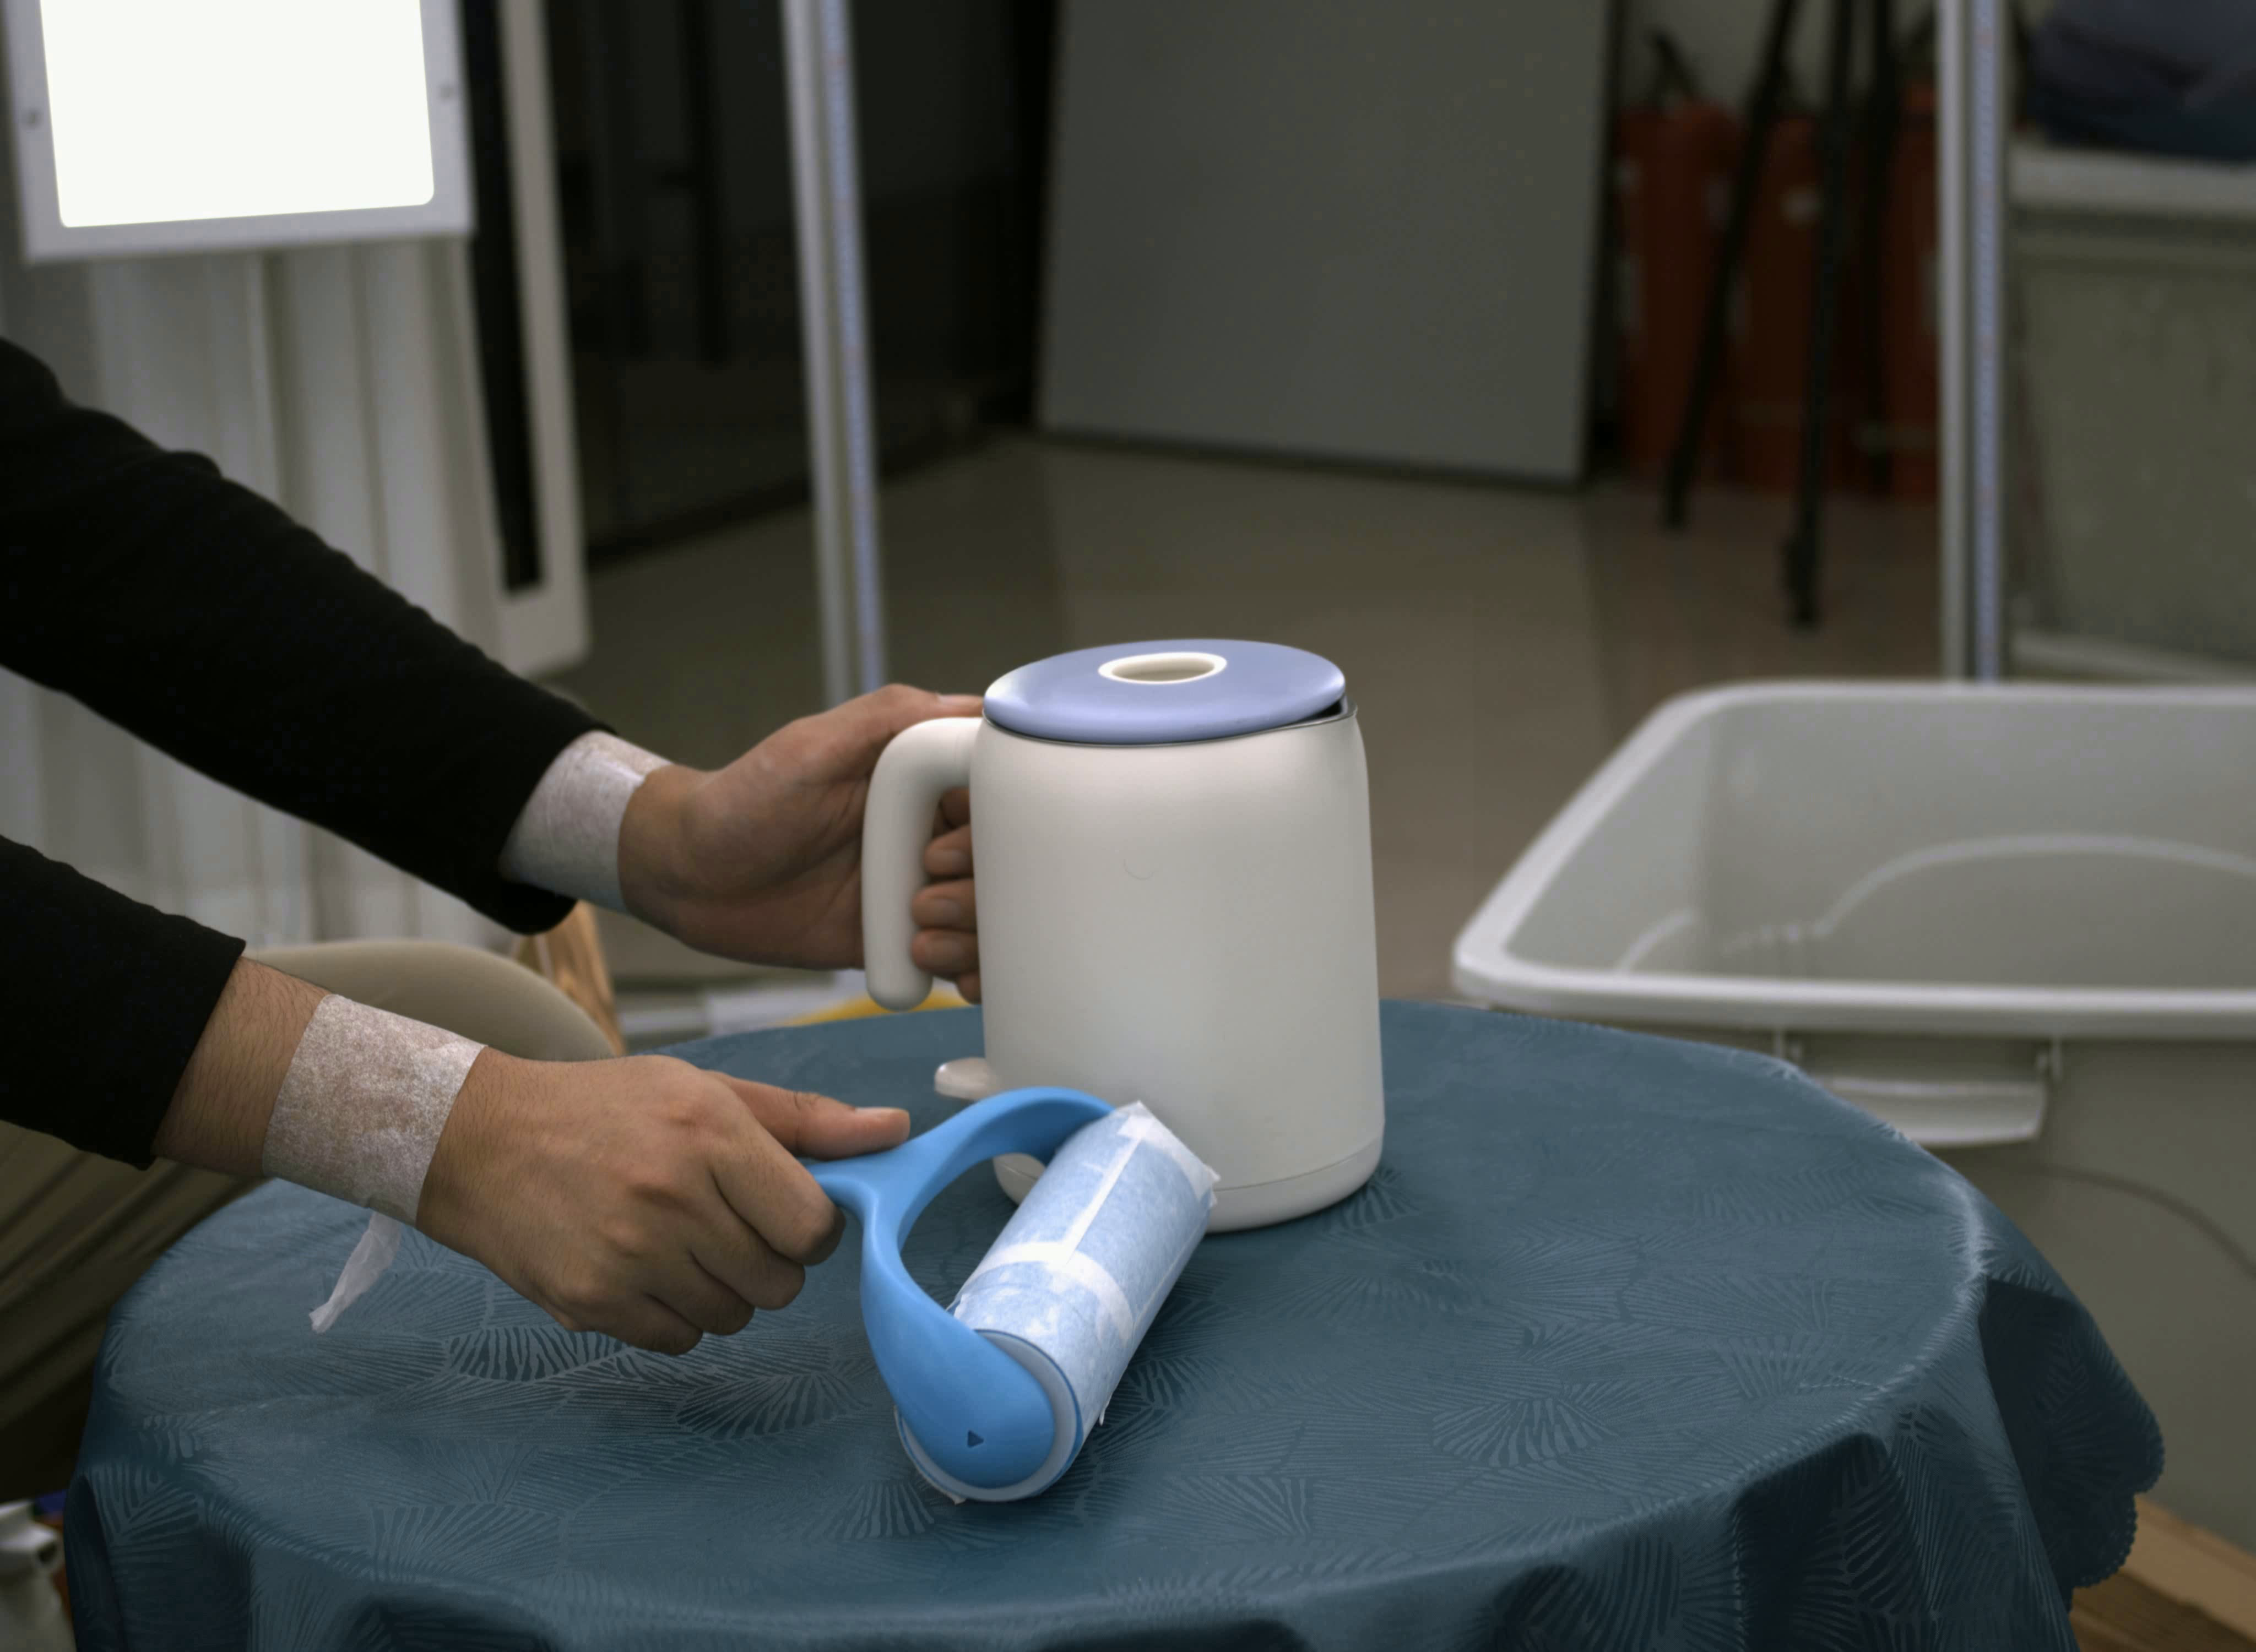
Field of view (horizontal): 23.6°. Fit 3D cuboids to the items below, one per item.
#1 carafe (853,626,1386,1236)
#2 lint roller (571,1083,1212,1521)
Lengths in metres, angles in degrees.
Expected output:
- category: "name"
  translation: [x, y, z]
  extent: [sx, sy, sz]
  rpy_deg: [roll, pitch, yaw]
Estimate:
- category: "carafe"
  translation: [-0.006, 0.033, 1.768]
  extent: [0.191, 0.184, 0.130]
  rpy_deg: [1, 13, 28]
- category: "lint roller"
  translation: [-0.077, 0.128, 1.598]
  extent: [0.179, 0.069, 0.228]
  rpy_deg: [12, 20, 8]
